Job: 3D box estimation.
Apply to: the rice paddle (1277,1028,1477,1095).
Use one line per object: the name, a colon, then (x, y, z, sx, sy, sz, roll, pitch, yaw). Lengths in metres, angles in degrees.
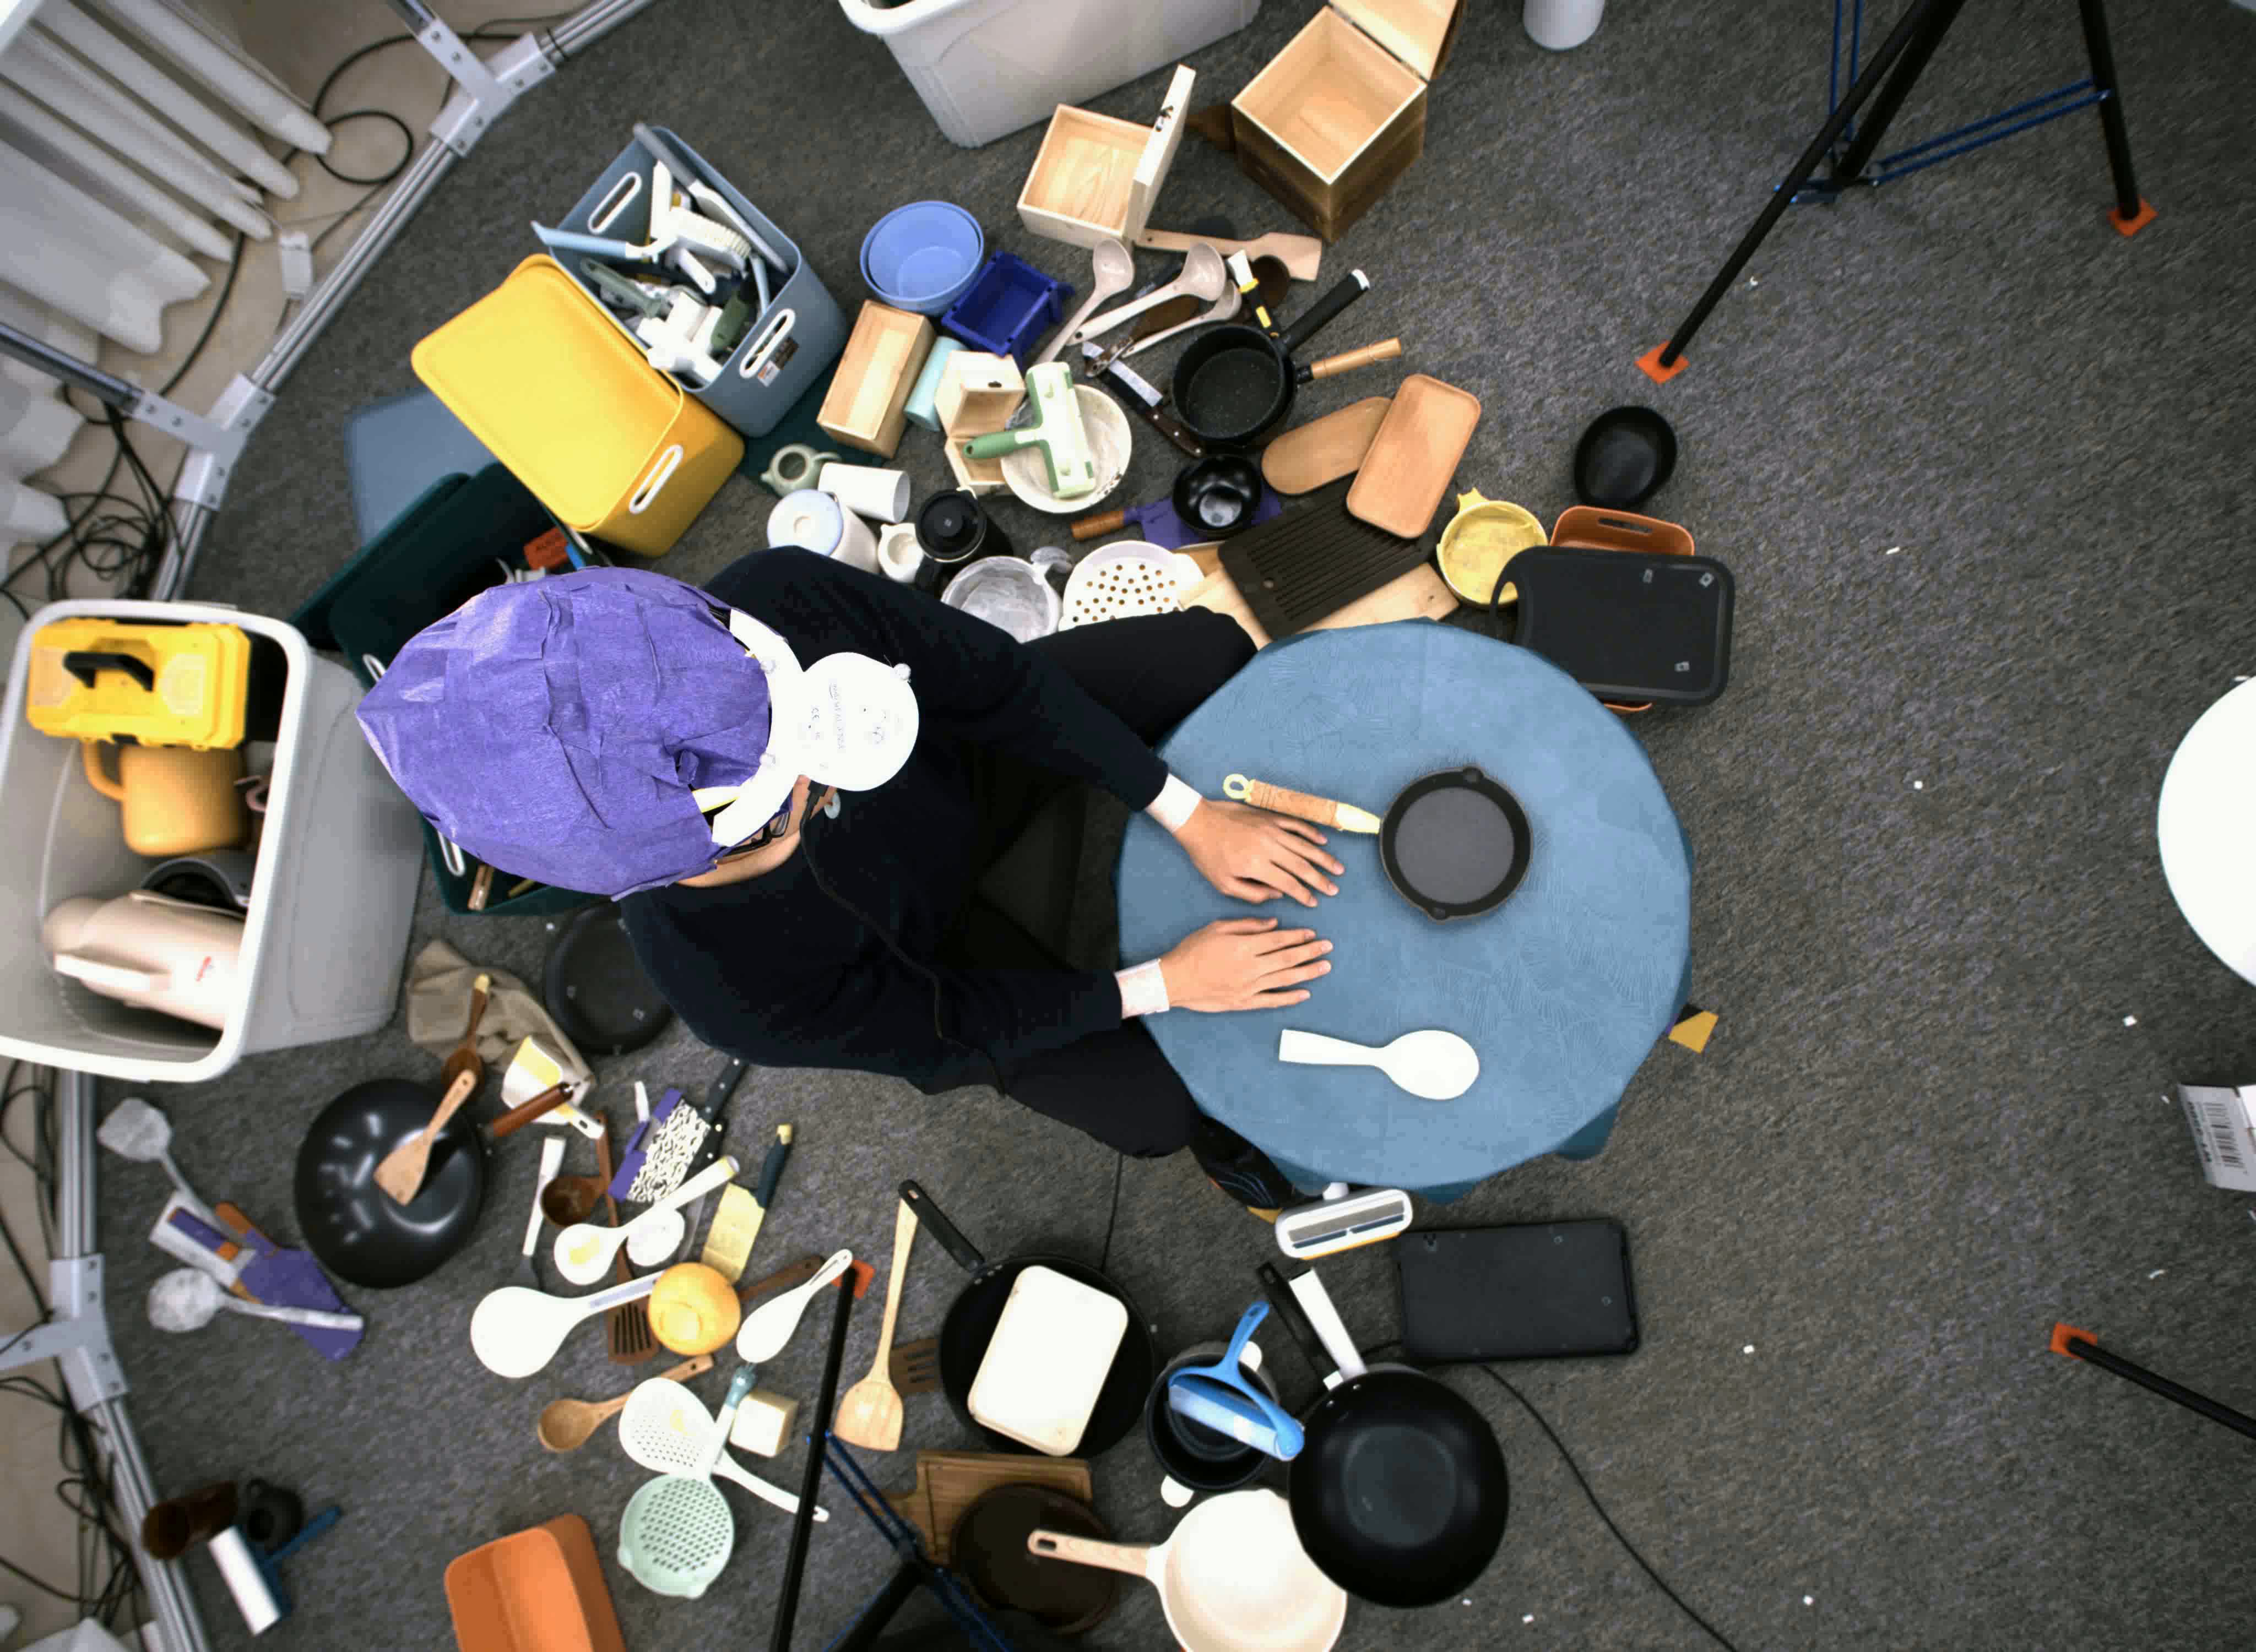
rice paddle: (0.259, 0.237, 1.438, 0.206, 0.029, 0.068, 5, 89, 11)

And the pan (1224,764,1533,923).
pan: (0.259, -0.006, 1.441, 0.324, 0.049, 0.169, 16, 90, 10)
